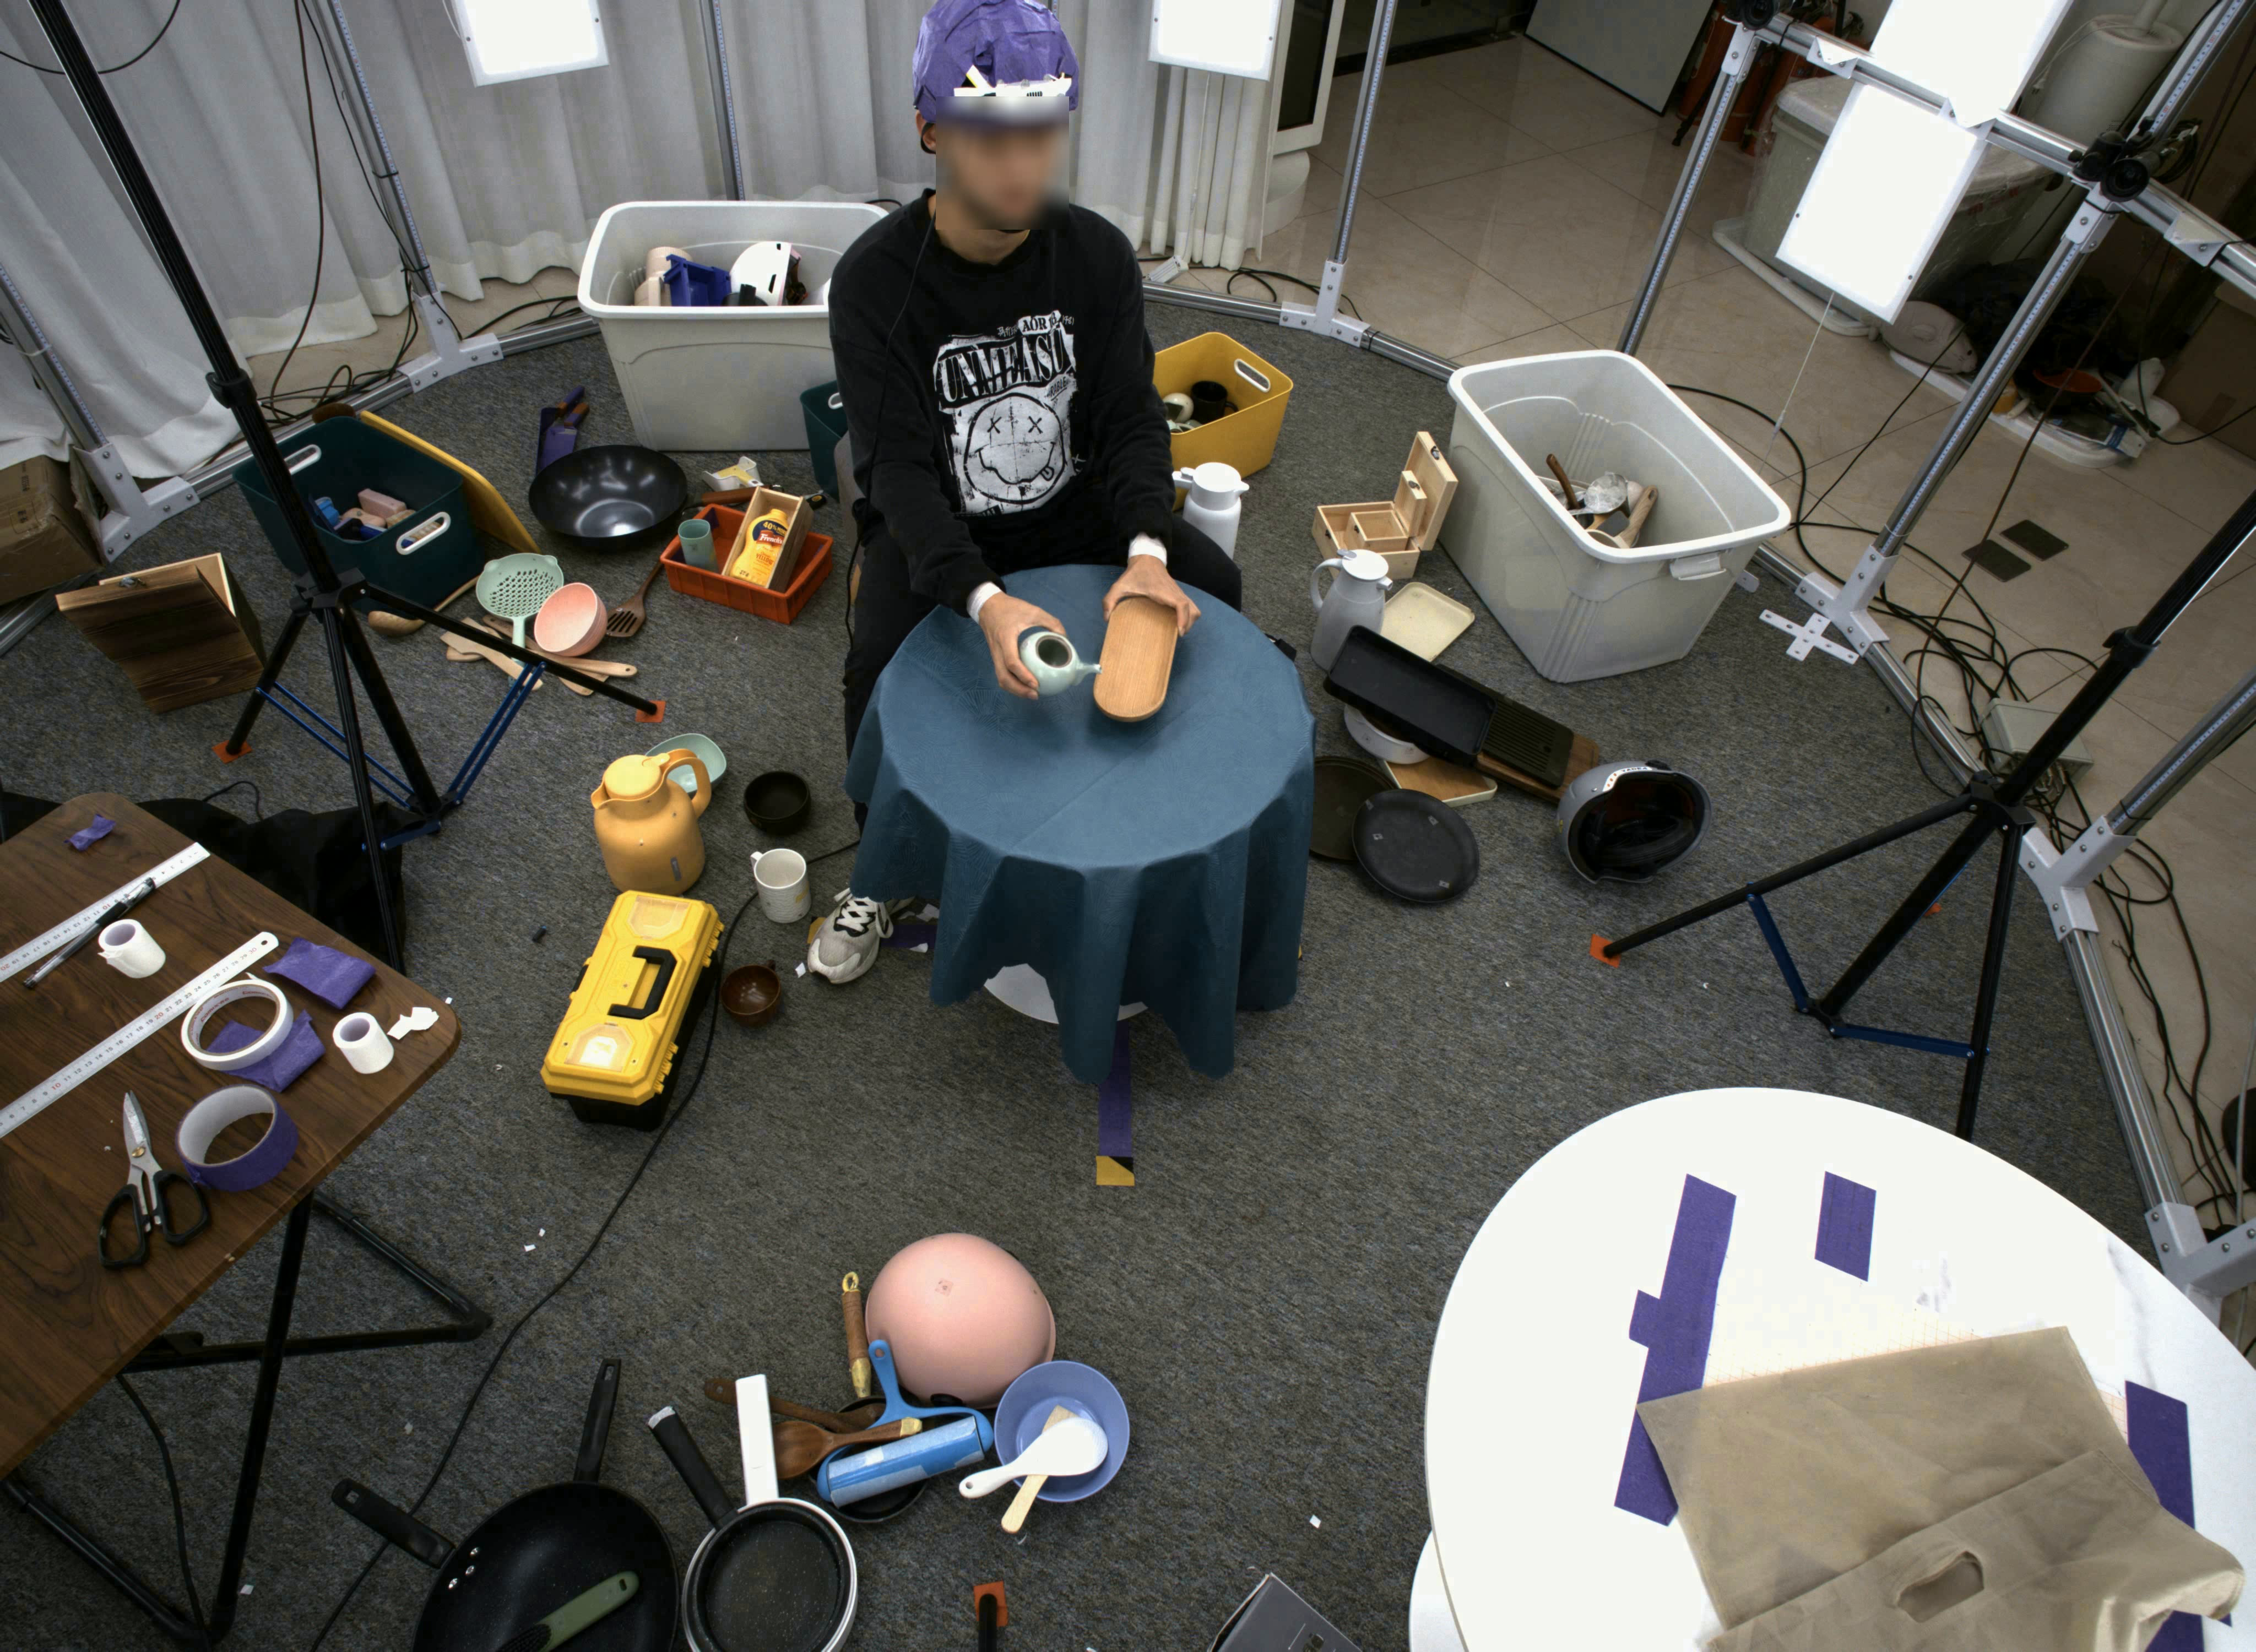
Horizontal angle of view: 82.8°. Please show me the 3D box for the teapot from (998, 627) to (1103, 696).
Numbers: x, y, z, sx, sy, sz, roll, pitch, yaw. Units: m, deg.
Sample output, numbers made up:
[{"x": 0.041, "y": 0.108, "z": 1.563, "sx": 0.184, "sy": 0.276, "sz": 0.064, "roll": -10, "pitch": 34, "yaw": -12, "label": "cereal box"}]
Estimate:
[{"x": -0.110, "y": -0.220, "z": 1.738, "sx": 0.143, "sy": 0.073, "sz": 0.090, "roll": 24, "pitch": 53, "yaw": -11, "label": "teapot"}]

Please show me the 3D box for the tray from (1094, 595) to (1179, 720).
[{"x": 0.013, "y": -0.240, "z": 1.813, "sx": 0.102, "sy": 0.020, "sz": 0.236, "roll": 7, "pitch": 52, "yaw": 5, "label": "tray"}]
